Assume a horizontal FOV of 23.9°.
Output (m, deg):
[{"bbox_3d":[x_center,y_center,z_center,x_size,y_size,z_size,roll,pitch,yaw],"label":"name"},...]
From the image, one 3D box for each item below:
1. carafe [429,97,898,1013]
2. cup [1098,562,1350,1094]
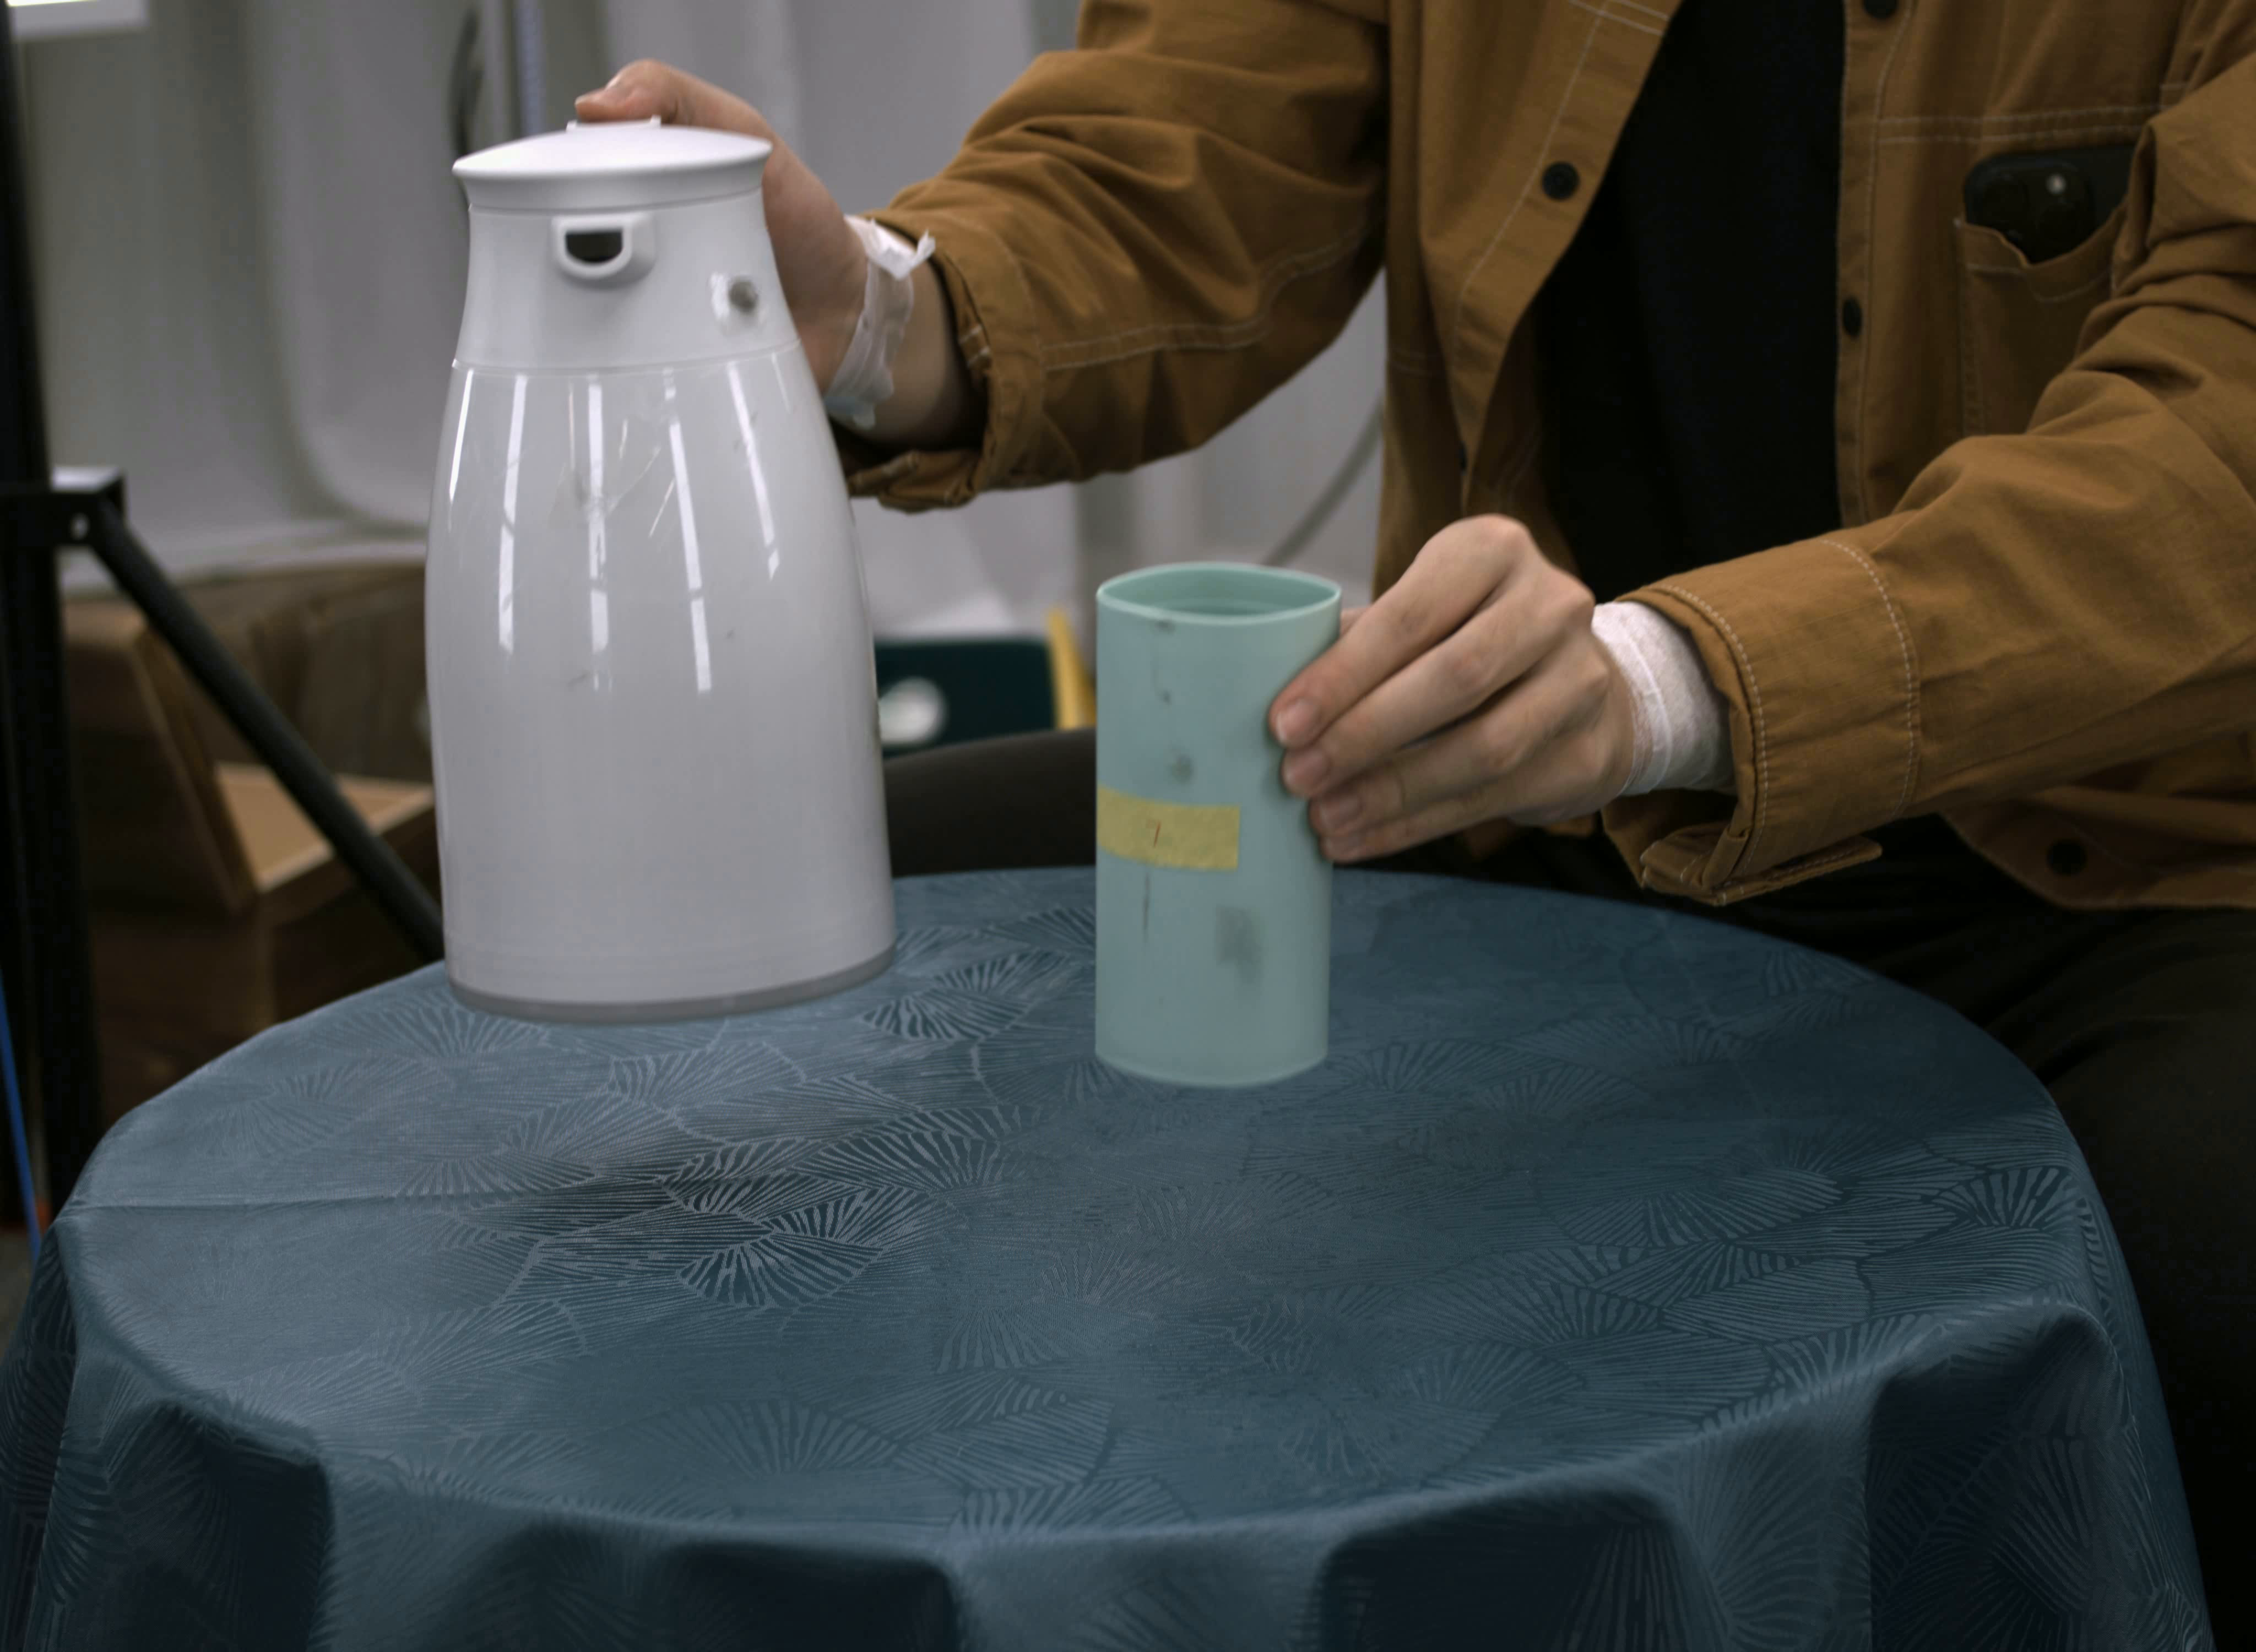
[{"bbox_3d":[-0.140,-0.085,1.560,0.132,0.249,0.168,-3,11,0],"label":"carafe"},{"bbox_3d":[0.026,-0.001,1.439,0.066,0.132,0.067,0,15,-2],"label":"cup"}]
